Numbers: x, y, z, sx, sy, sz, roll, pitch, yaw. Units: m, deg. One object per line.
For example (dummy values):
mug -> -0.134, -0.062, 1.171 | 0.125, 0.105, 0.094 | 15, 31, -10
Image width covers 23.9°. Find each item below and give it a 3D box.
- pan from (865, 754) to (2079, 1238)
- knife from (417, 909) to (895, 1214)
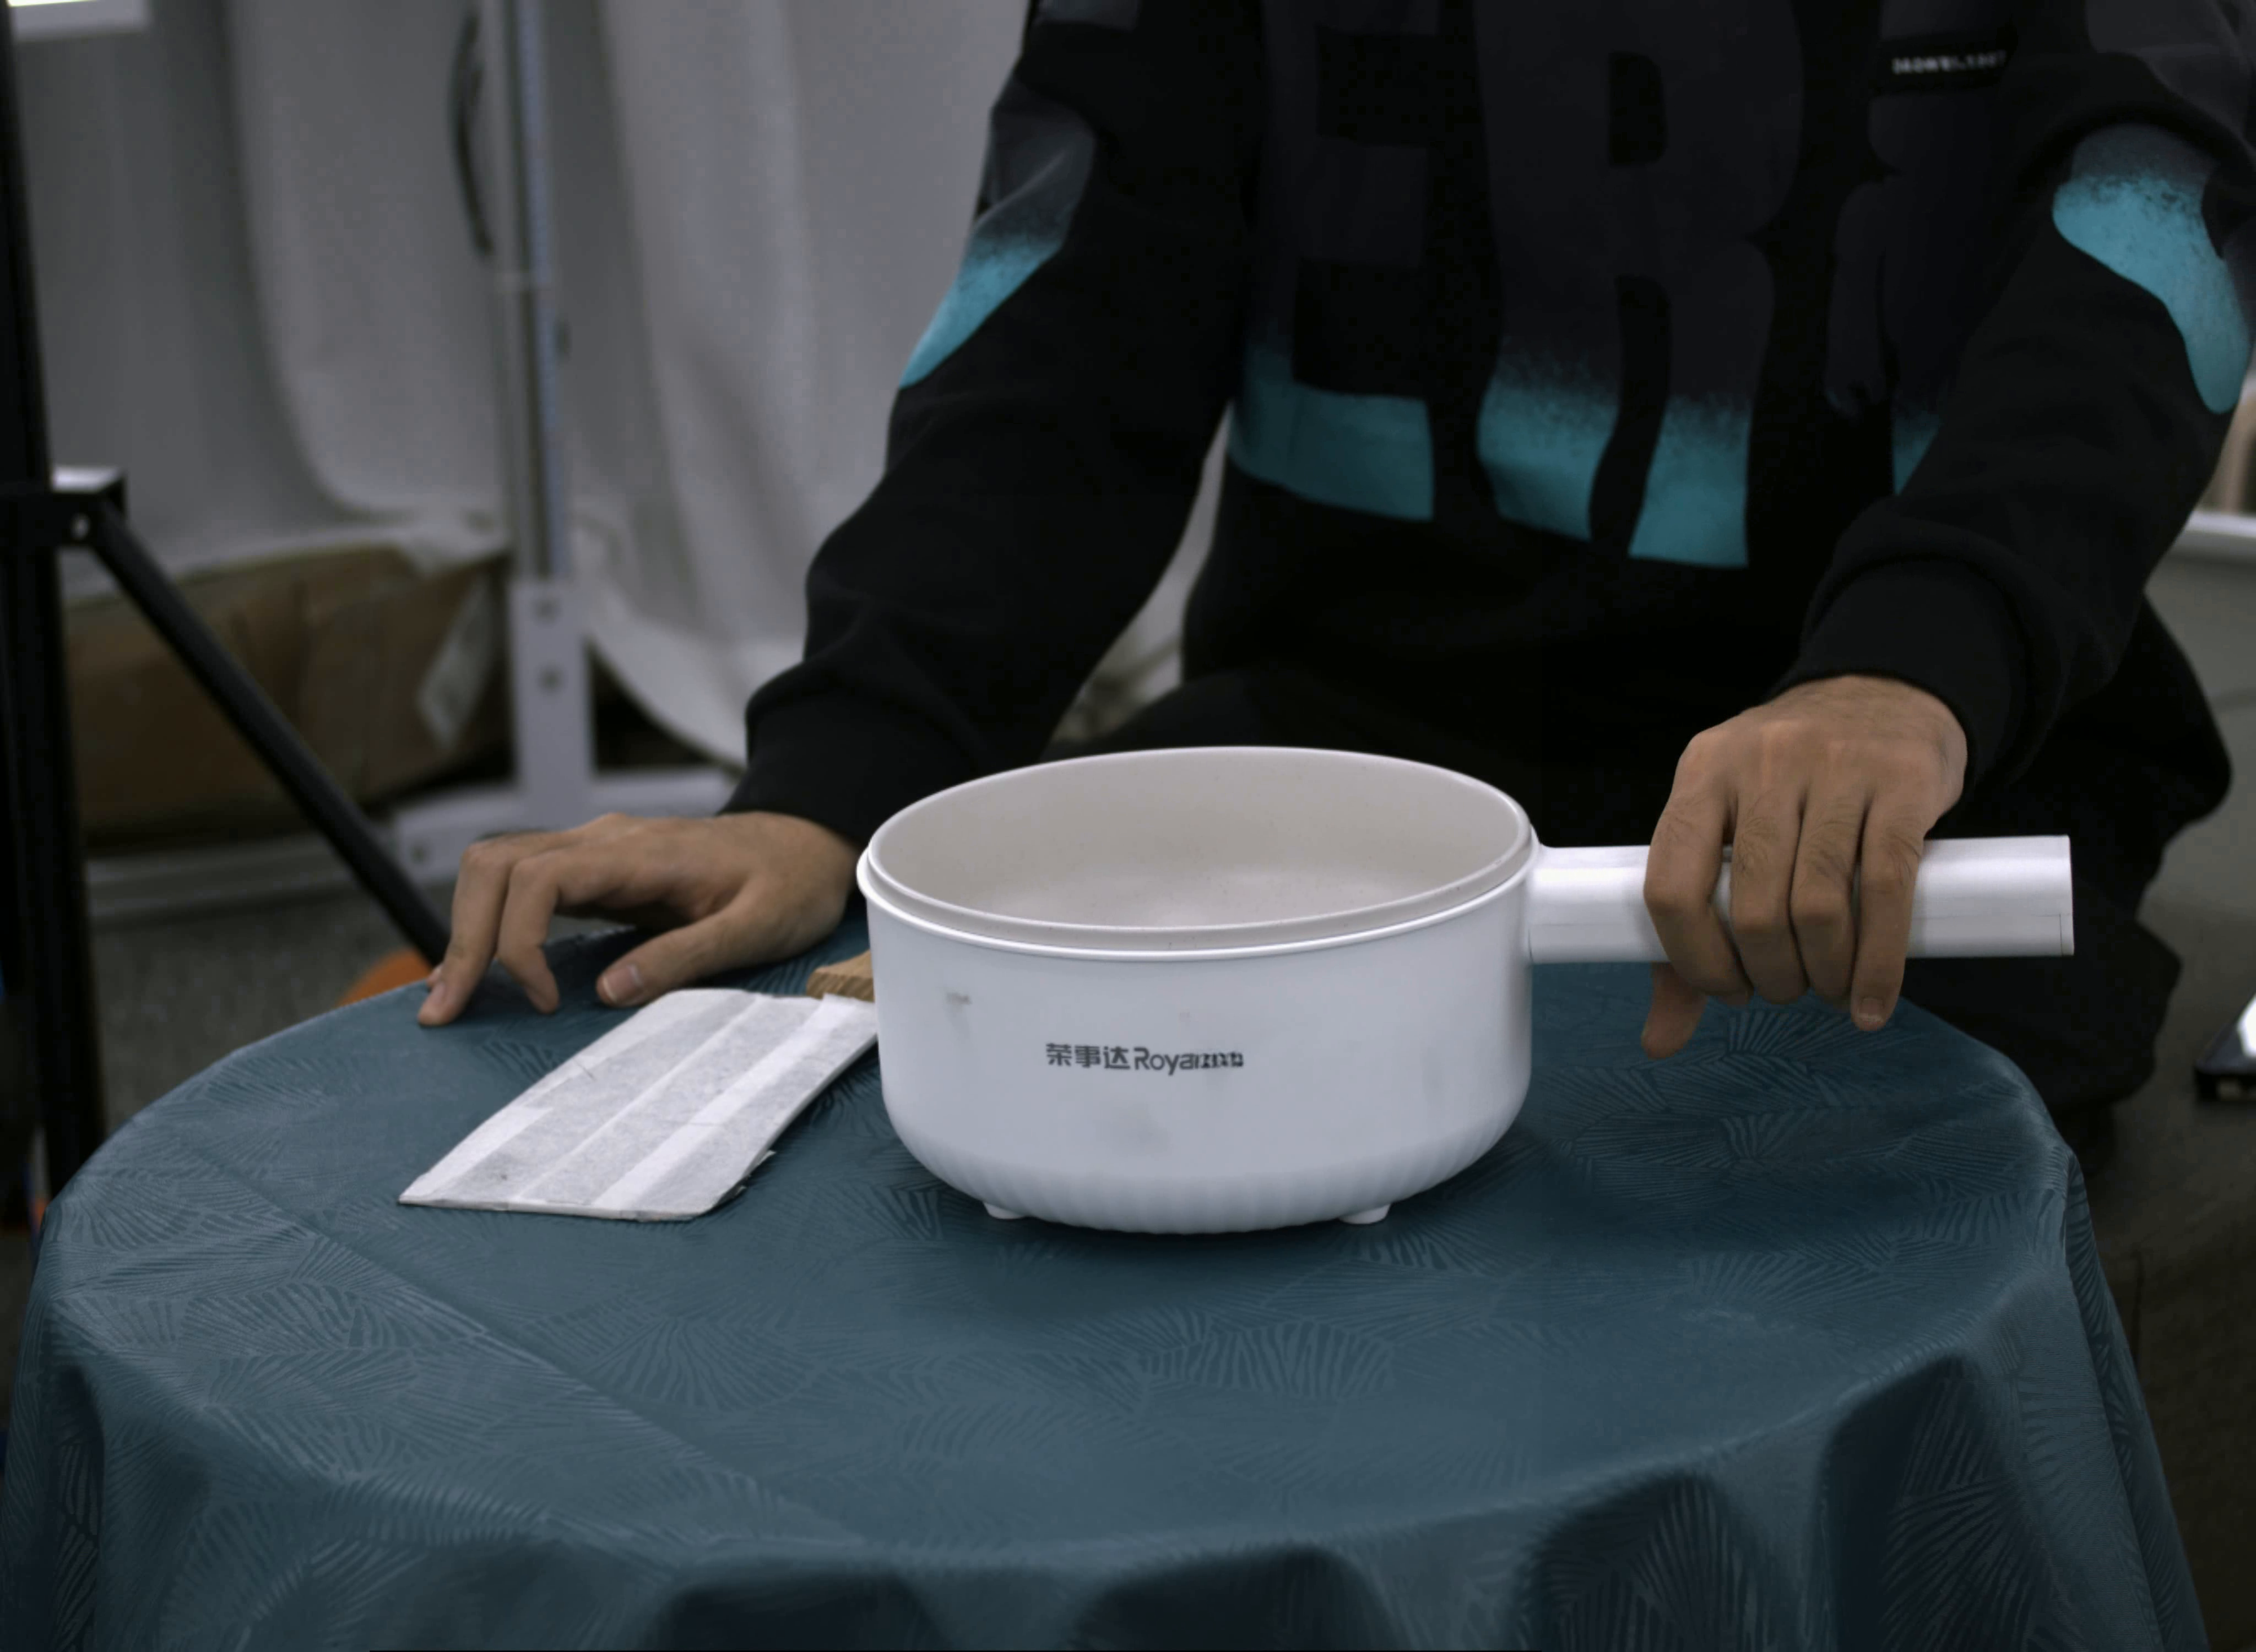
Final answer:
pan -> 0.099, 0.053, 1.554 | 0.356, 0.102, 0.200 | 1, 15, 11
knife -> -0.111, 0.066, 1.693 | 0.115, 0.022, 0.311 | 5, 20, 25
